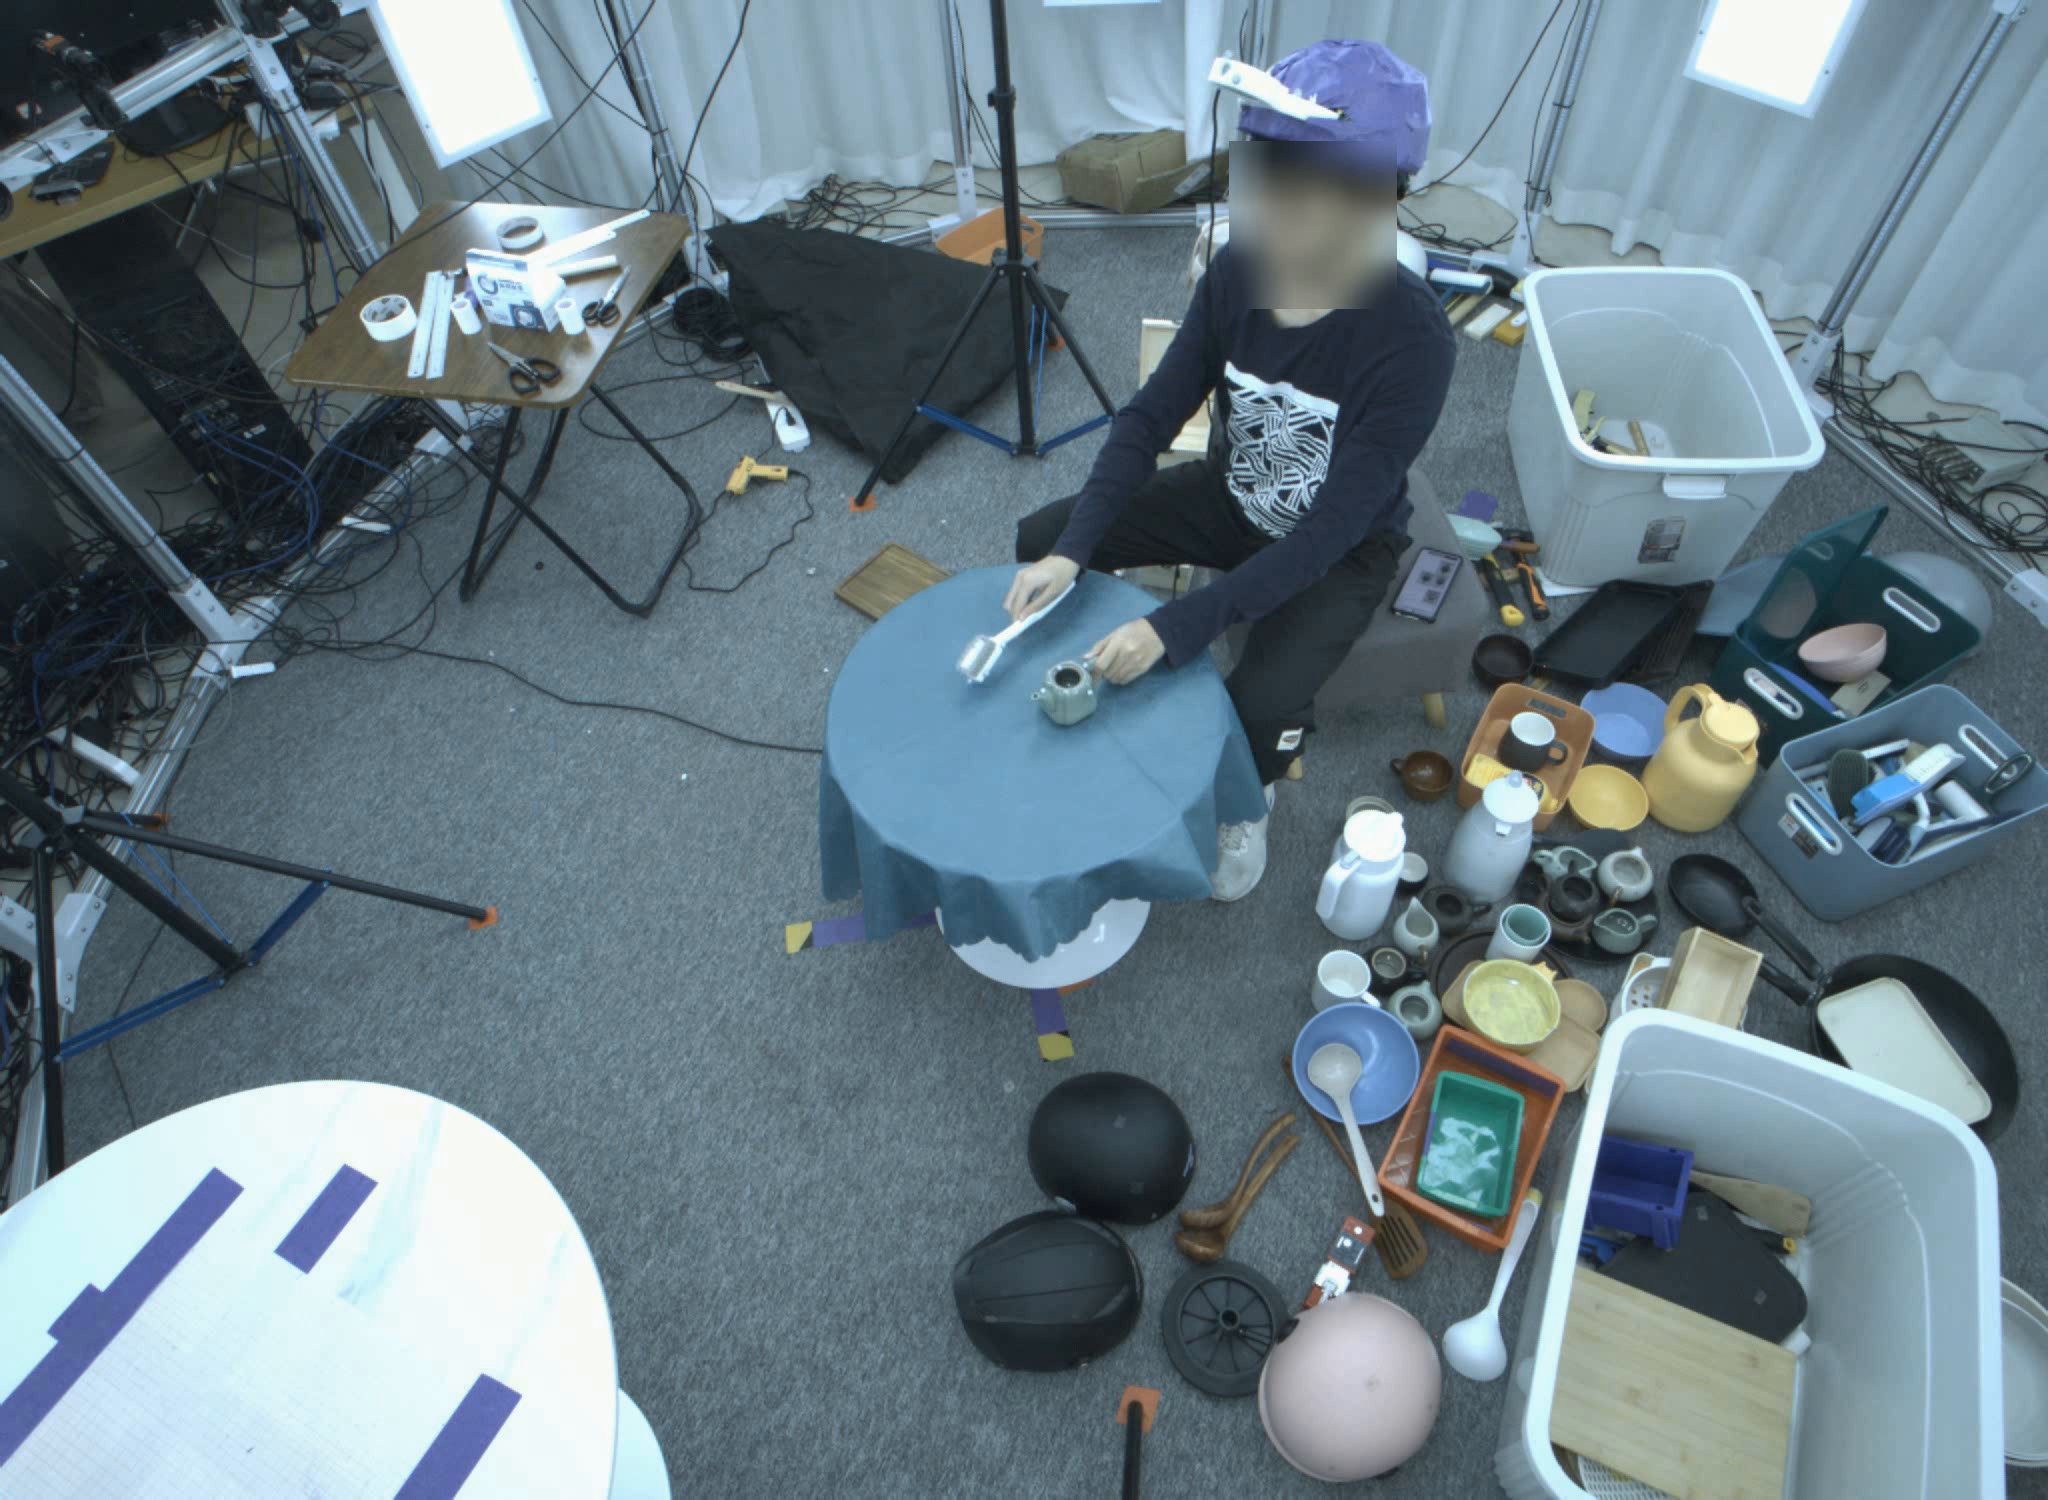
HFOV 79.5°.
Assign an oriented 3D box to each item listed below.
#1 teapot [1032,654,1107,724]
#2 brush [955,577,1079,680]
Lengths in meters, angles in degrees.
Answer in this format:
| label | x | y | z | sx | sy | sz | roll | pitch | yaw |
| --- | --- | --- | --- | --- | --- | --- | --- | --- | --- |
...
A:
| label | x | y | z | sx | sy | sz | roll | pitch | yaw |
| --- | --- | --- | --- | --- | --- | --- | --- | --- | --- |
| teapot | 0.066 | -0.088 | 1.795 | 0.133 | 0.076 | 0.078 | -33 | 60 | -20 |
| brush | -0.010 | -0.196 | 1.847 | 0.245 | 0.051 | 0.033 | -44 | 49 | -17 |
